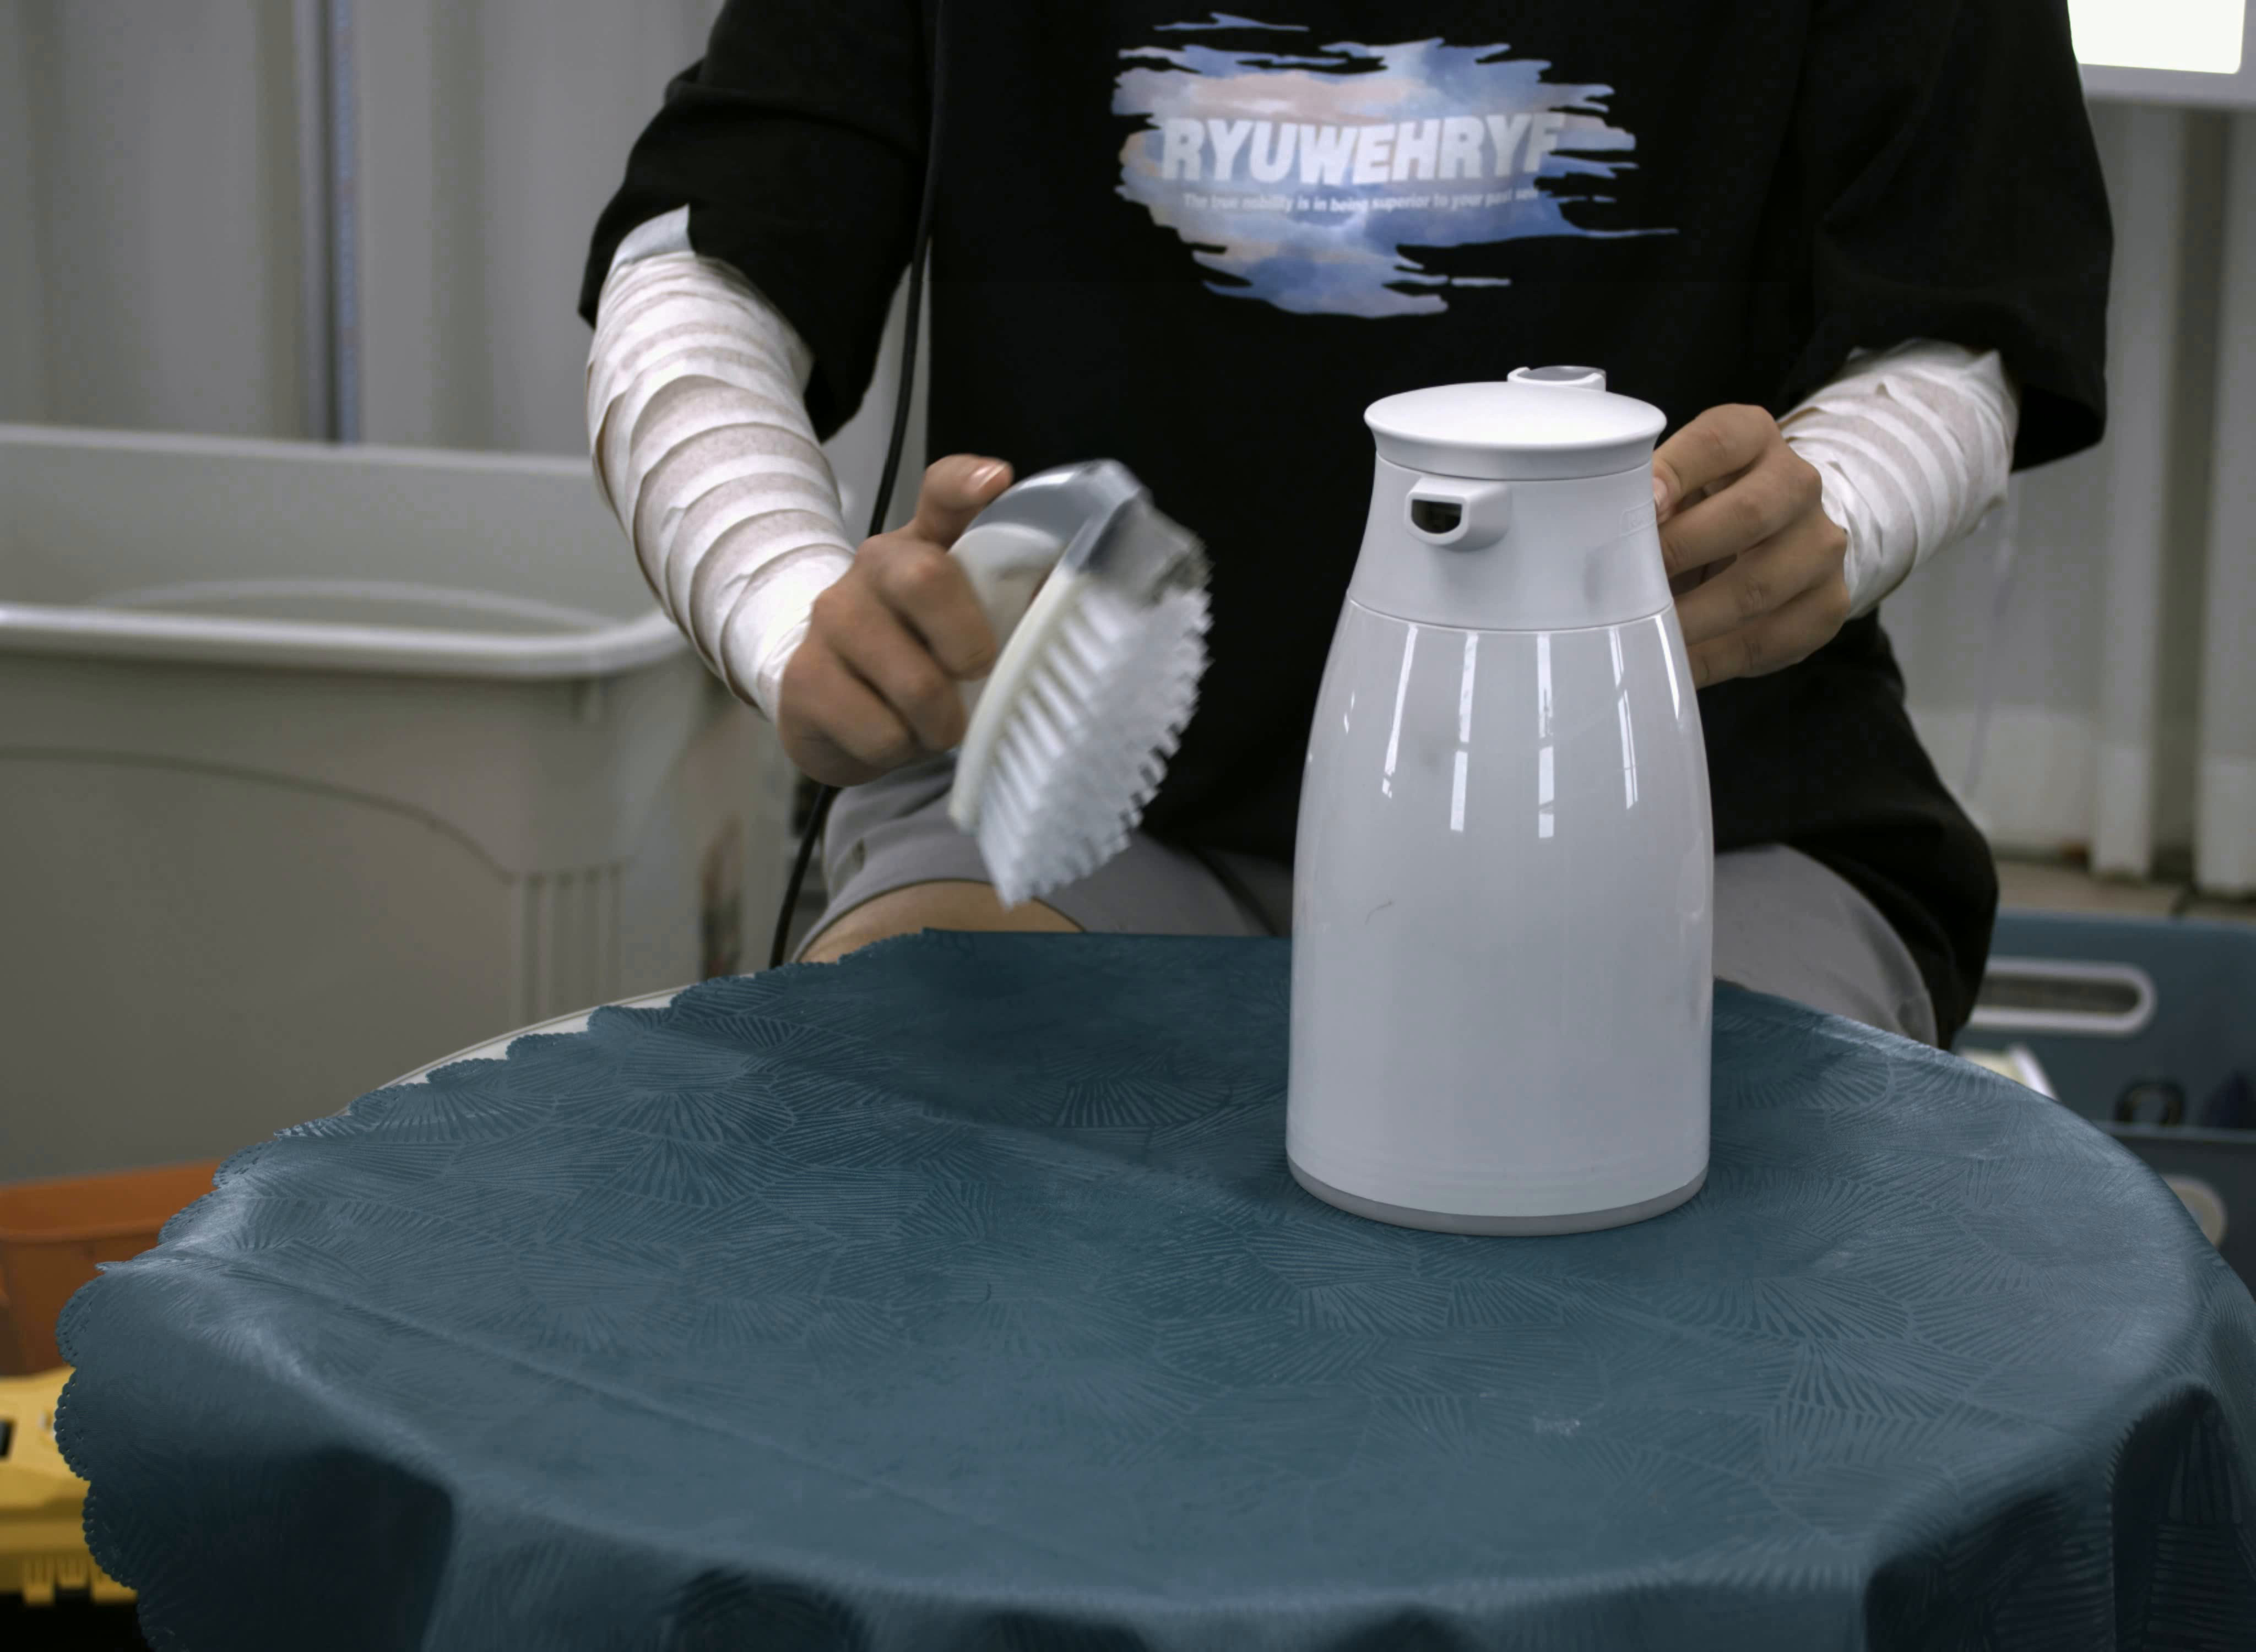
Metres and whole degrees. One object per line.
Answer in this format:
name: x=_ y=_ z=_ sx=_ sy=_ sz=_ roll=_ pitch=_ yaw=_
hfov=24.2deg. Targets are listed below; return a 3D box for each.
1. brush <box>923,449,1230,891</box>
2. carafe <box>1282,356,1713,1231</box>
brush: x=-0.020 y=-0.066 z=1.656 sx=0.061 sy=0.176 sz=0.093 roll=-30 pitch=69 yaw=-32
carafe: x=0.122 y=-0.019 z=1.633 sx=0.131 sy=0.250 sz=0.168 roll=7 pitch=17 yaw=23
